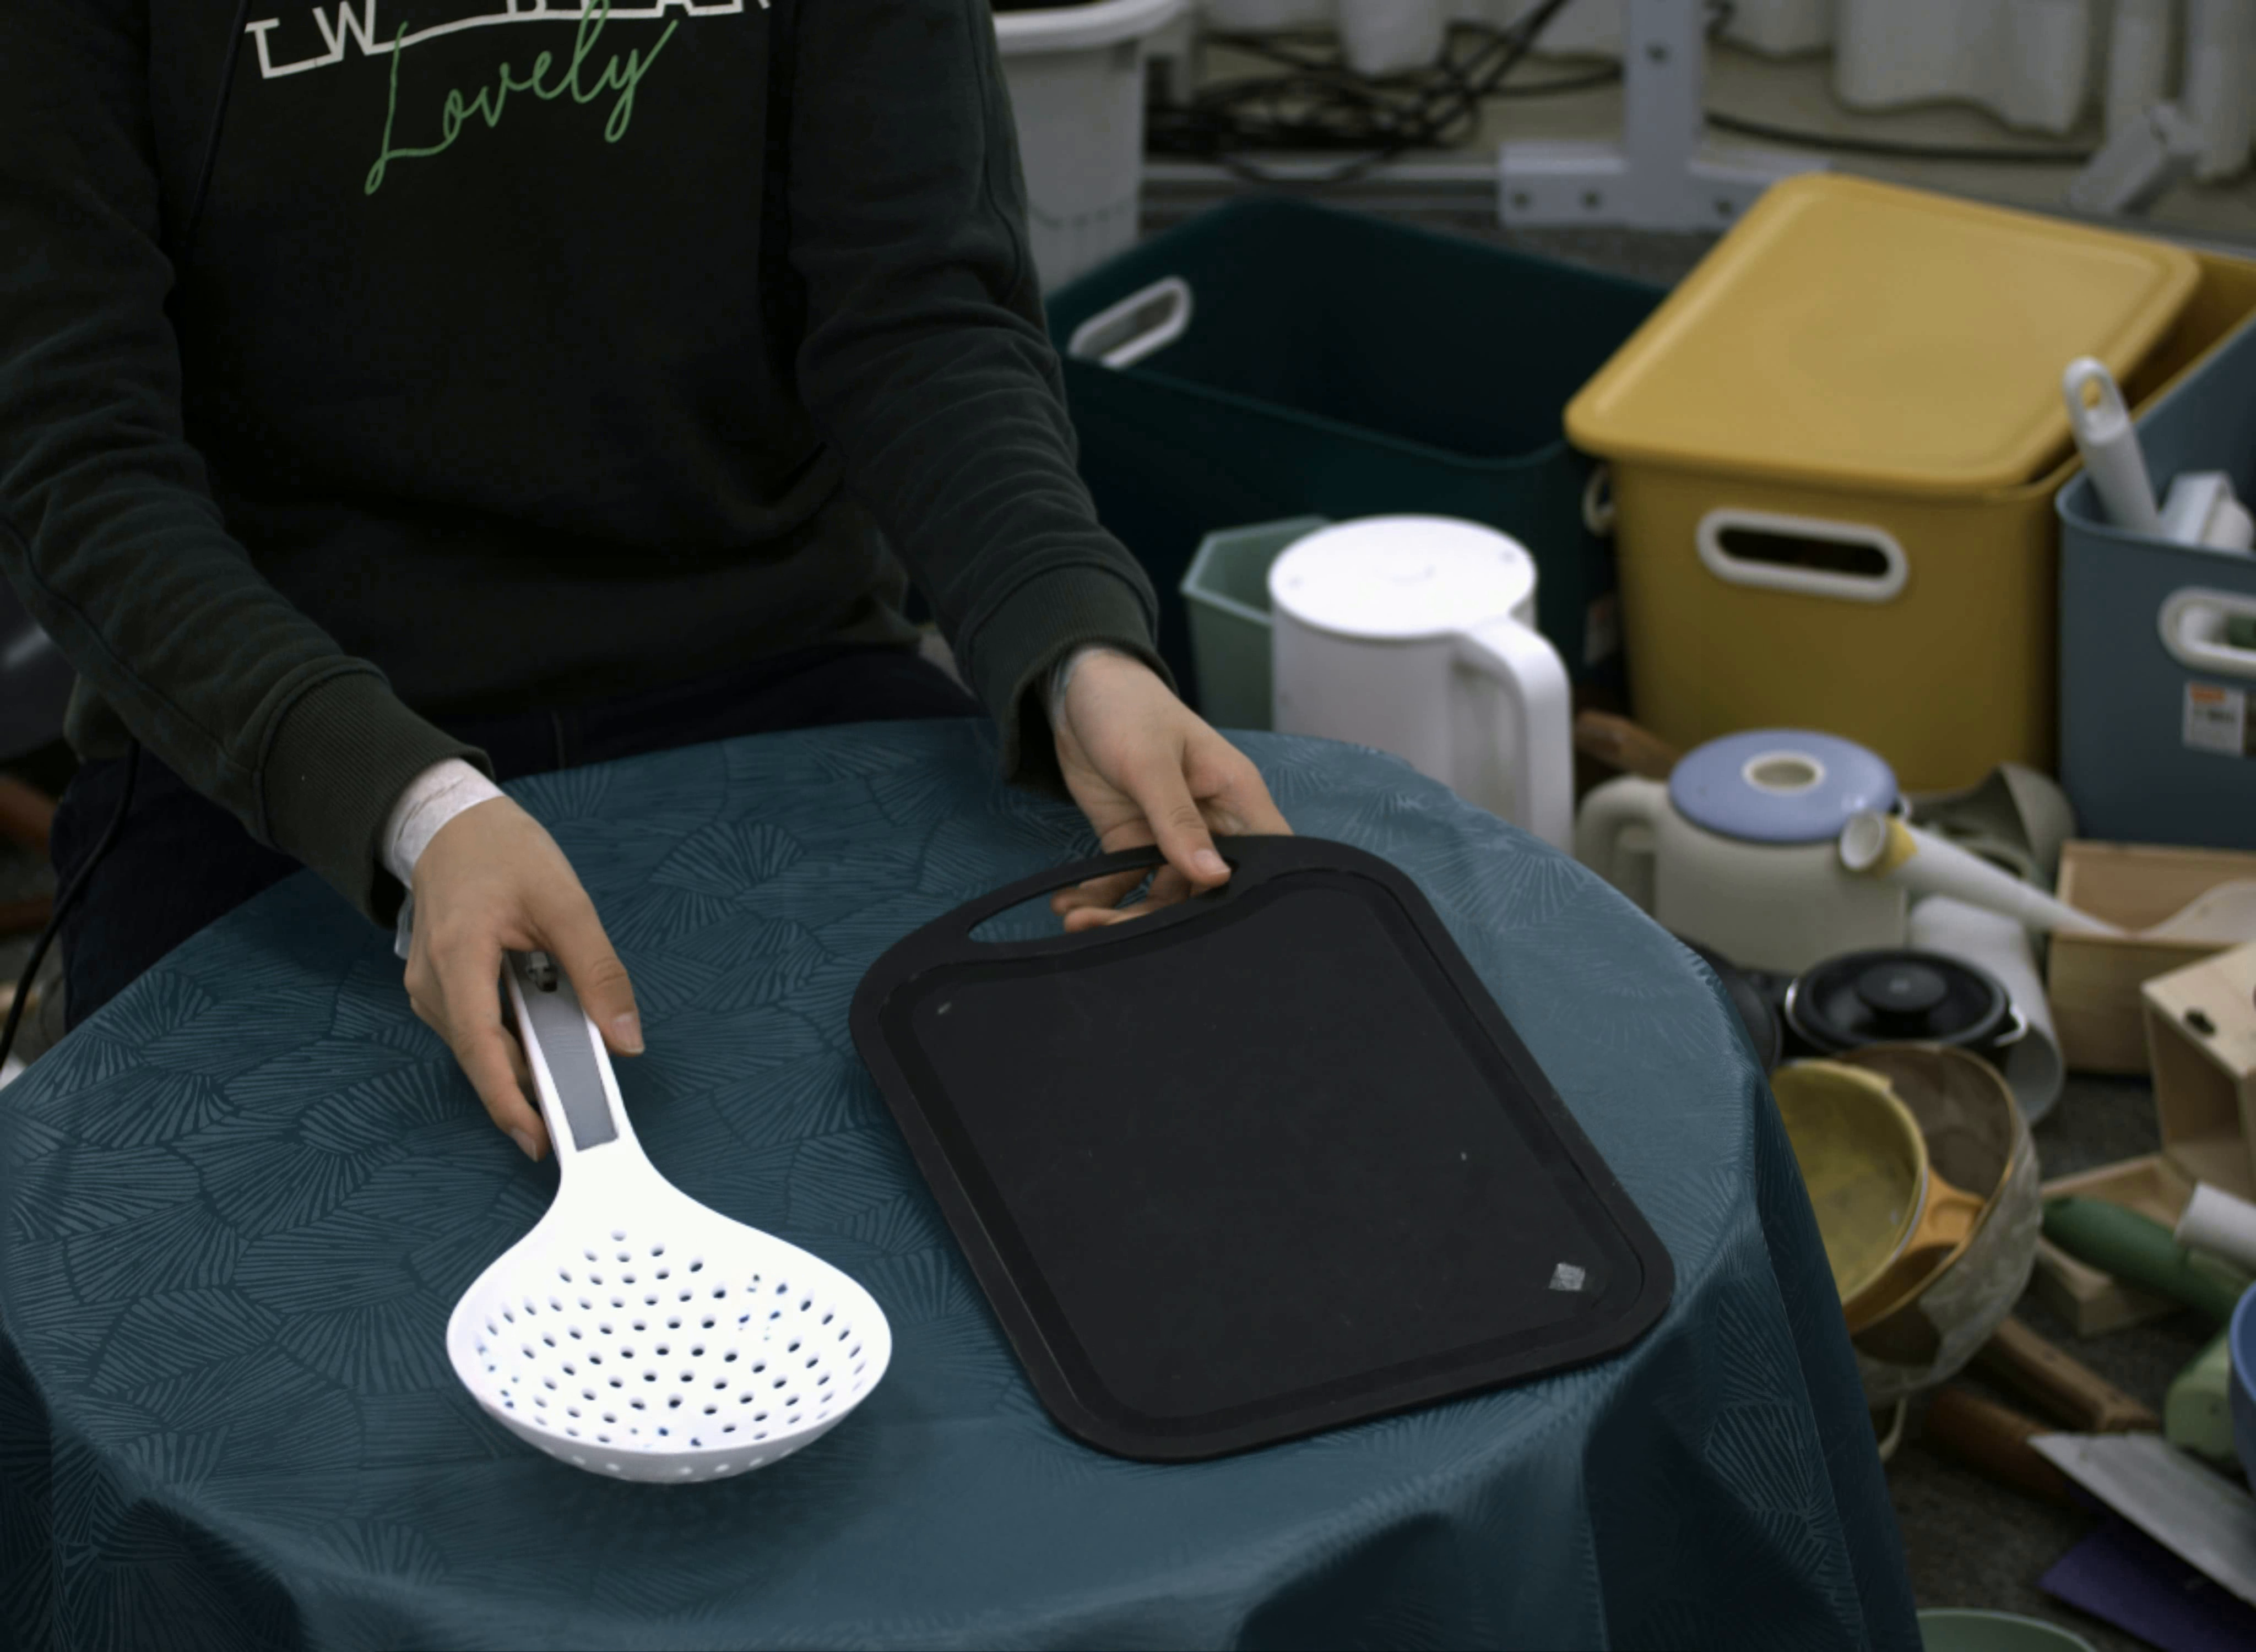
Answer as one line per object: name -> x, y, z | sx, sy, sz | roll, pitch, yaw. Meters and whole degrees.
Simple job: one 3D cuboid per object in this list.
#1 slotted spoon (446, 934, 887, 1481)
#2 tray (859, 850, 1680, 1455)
slotted spoon -> -0.168, 0.118, 1.820 | 0.136, 0.045, 0.354 | -2, 30, -14
tray -> 0.037, 0.097, 1.865 | 0.211, 0.009, 0.329 | -12, 33, -14
